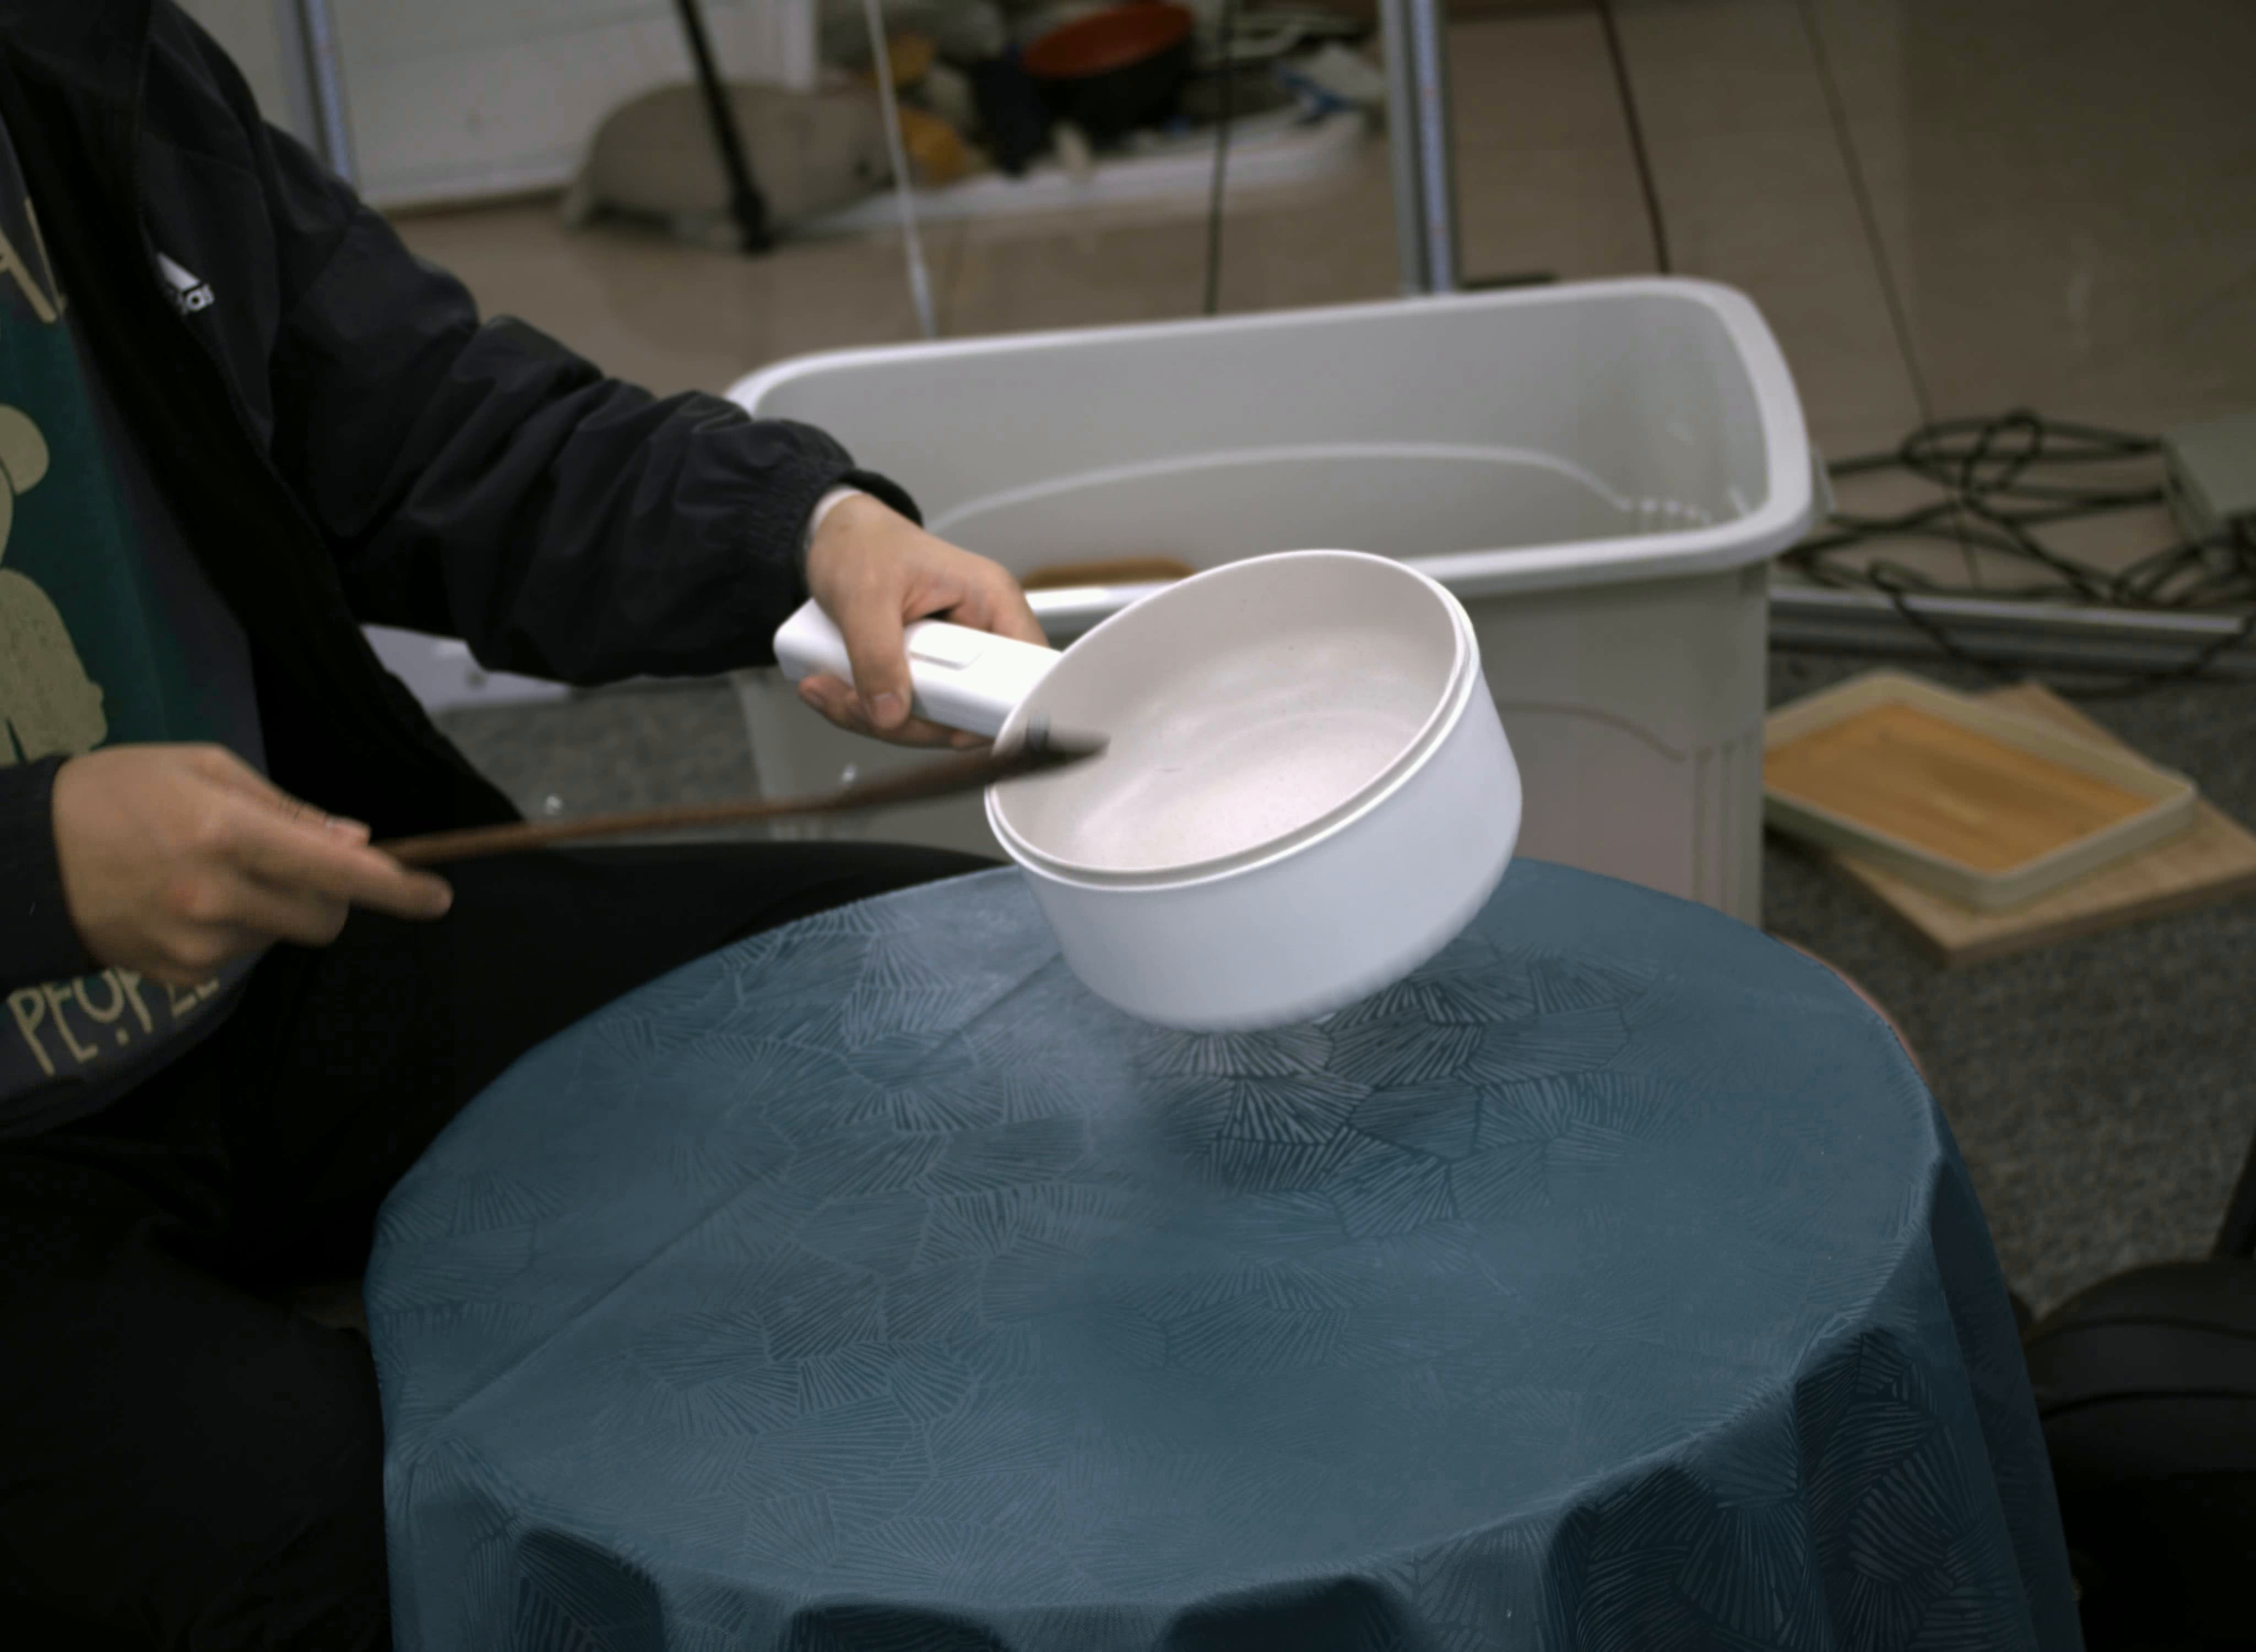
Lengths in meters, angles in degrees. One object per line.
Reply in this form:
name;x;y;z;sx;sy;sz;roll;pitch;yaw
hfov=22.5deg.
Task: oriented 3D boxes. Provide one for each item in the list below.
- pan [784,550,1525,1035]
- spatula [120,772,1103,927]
pan;0.002;-0.021;2.260;0.352;0.104;0.199;14;51;45
spatula;-0.197;0.008;2.092;0.385;0.016;0.096;-7;0;15
